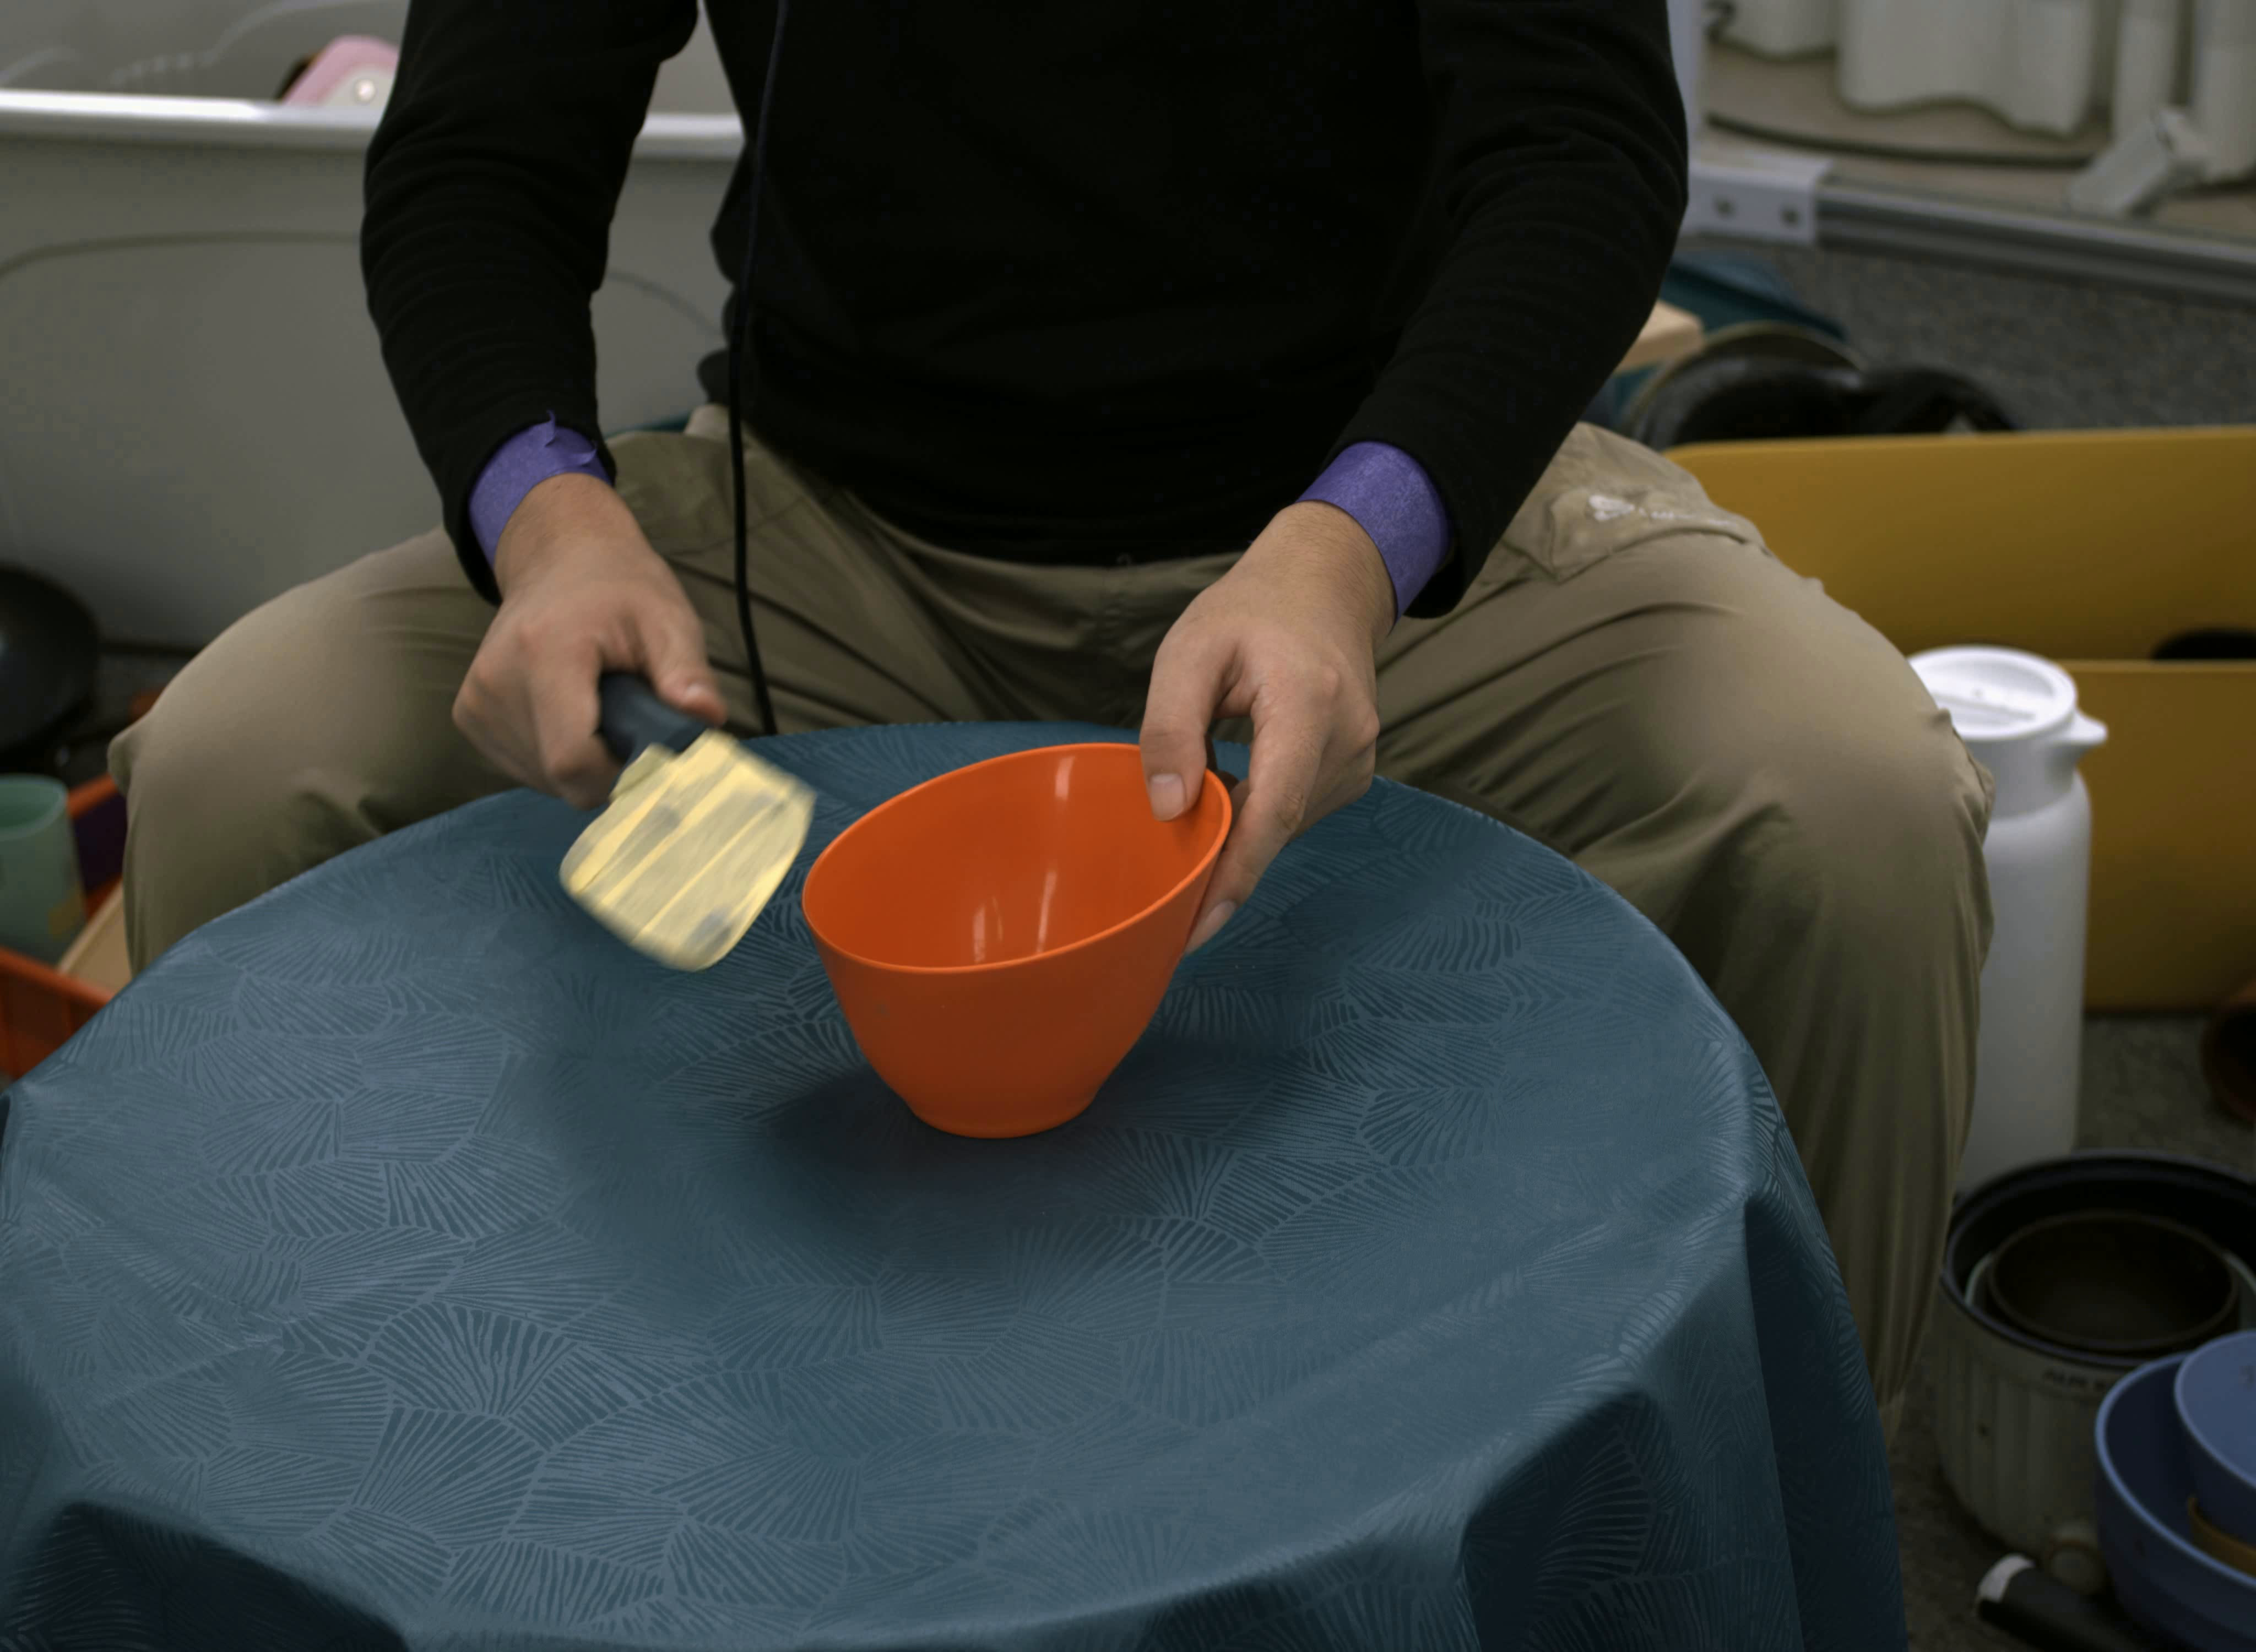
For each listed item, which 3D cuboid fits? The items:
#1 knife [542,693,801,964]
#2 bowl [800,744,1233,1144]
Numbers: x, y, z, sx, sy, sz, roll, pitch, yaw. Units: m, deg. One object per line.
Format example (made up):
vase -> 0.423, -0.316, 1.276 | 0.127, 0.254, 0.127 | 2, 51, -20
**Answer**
knife -> -0.167, -0.001, 1.930 | 0.081, 0.027, 0.290 | -40, 21, -5
bowl -> -0.035, 0.046, 1.899 | 0.147, 0.103, 0.150 | -3, 28, 2
